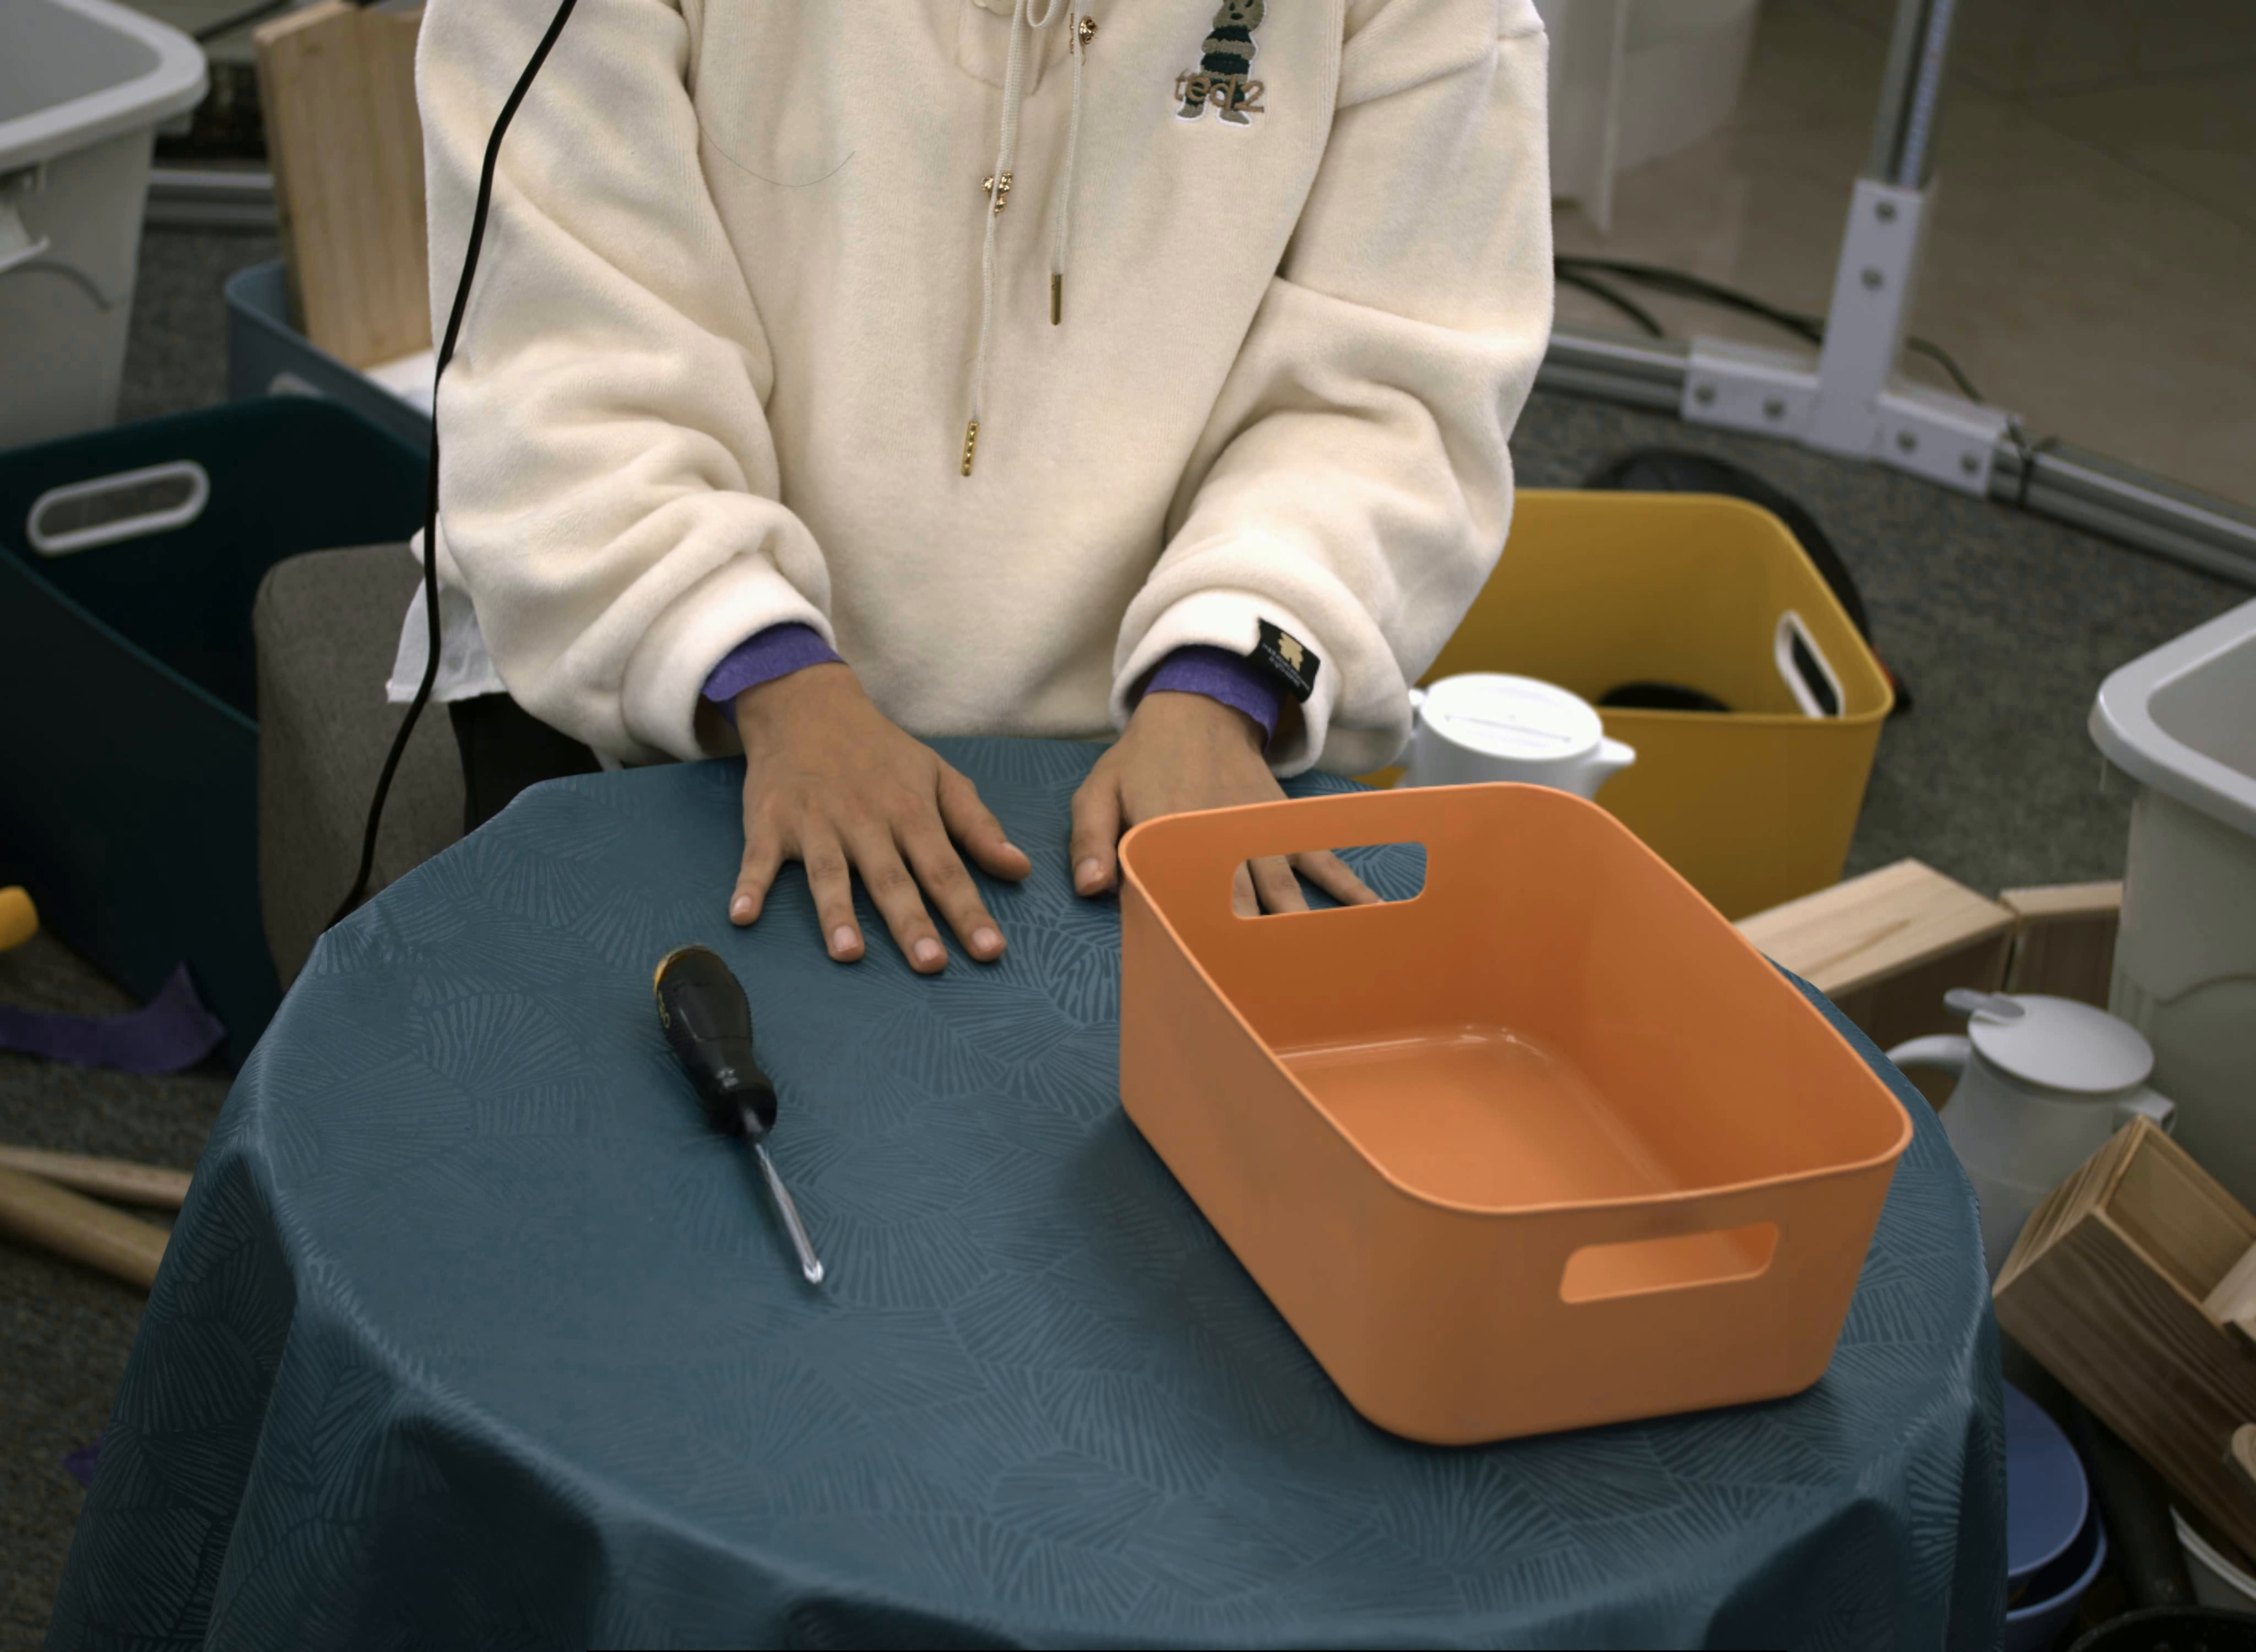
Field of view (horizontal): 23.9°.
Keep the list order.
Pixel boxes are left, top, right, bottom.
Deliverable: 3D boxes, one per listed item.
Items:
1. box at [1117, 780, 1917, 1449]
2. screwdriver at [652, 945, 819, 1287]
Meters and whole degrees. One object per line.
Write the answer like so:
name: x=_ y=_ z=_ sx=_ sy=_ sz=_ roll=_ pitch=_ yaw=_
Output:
box: x=0.120 y=0.094 z=1.773 sx=0.198 sy=0.102 sz=0.276 roll=-7 pitch=30 yaw=-22
screwdriver: x=-0.133 y=0.099 z=1.798 sx=0.031 sy=0.031 sz=0.198 roll=-1 pitch=31 yaw=-16
